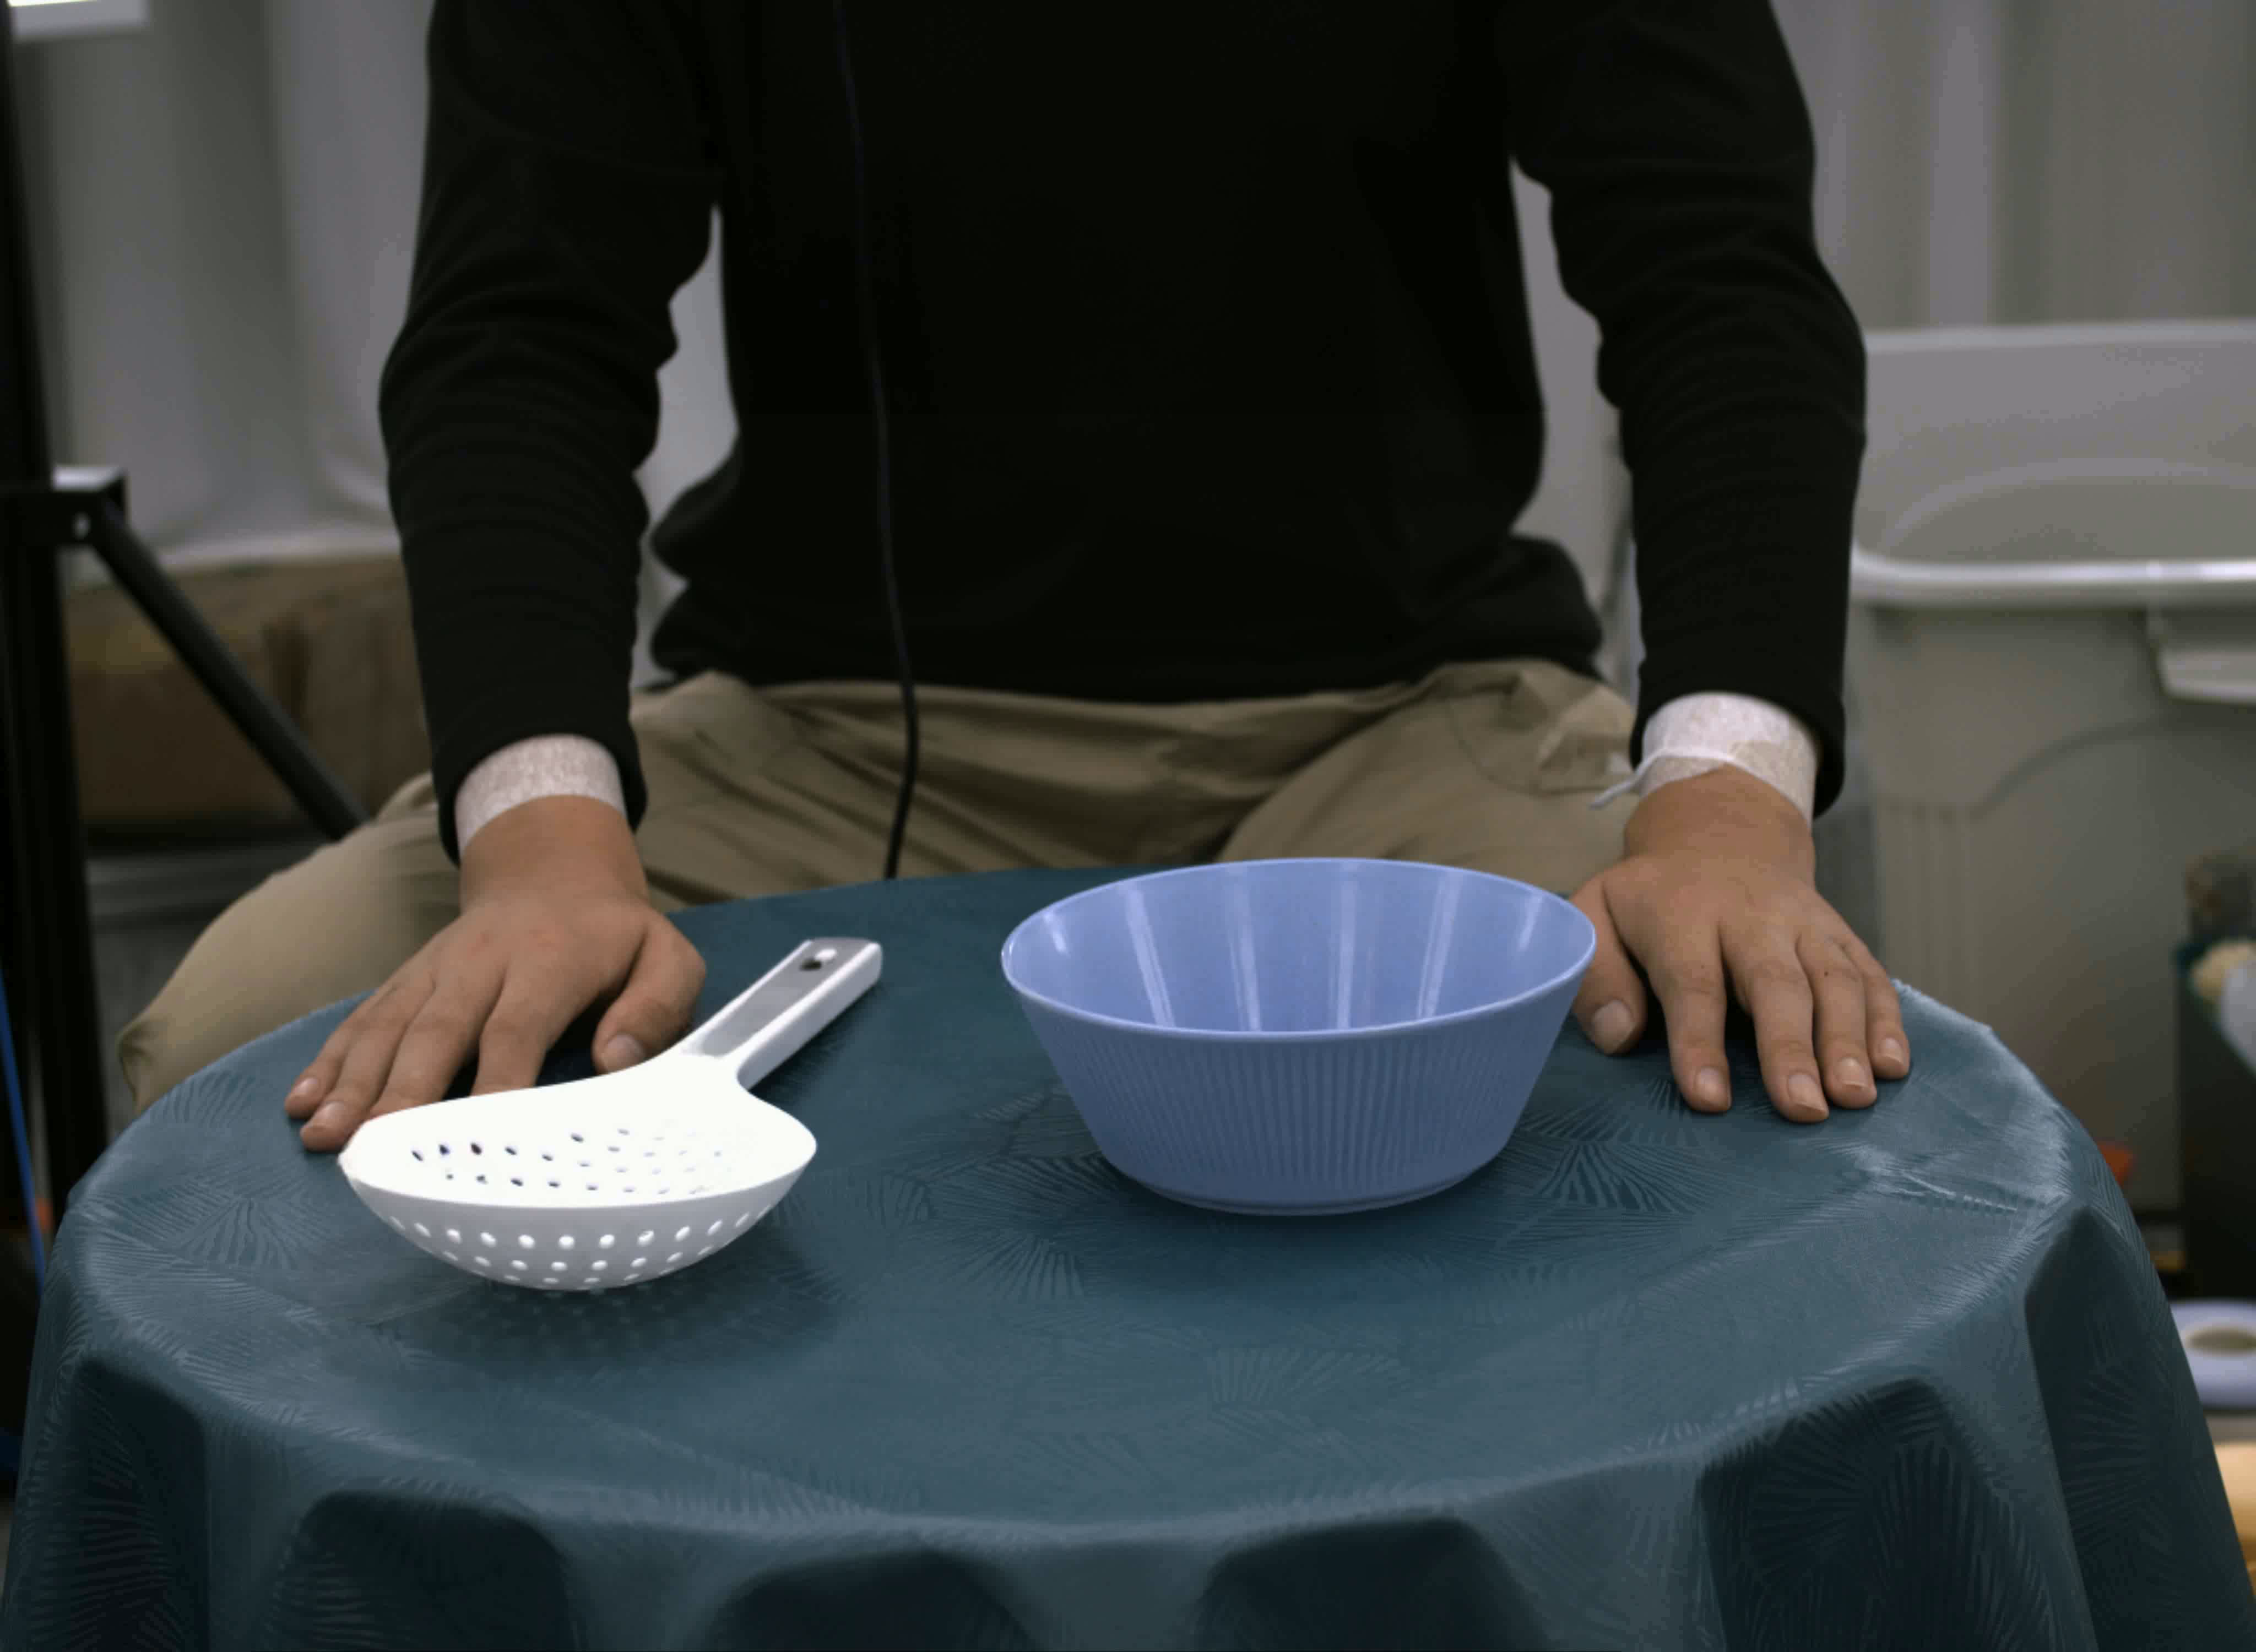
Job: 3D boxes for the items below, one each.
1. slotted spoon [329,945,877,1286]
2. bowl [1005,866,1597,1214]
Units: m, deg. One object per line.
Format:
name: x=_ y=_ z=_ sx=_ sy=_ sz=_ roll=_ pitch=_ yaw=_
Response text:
slotted spoon: x=-0.133 y=0.077 z=1.604 sx=0.137 sy=0.046 sz=0.347 roll=1 pitch=15 yaw=13
bowl: x=0.052 y=0.065 z=1.573 sx=0.175 sy=0.070 sz=0.177 roll=-3 pitch=14 yaw=-1
